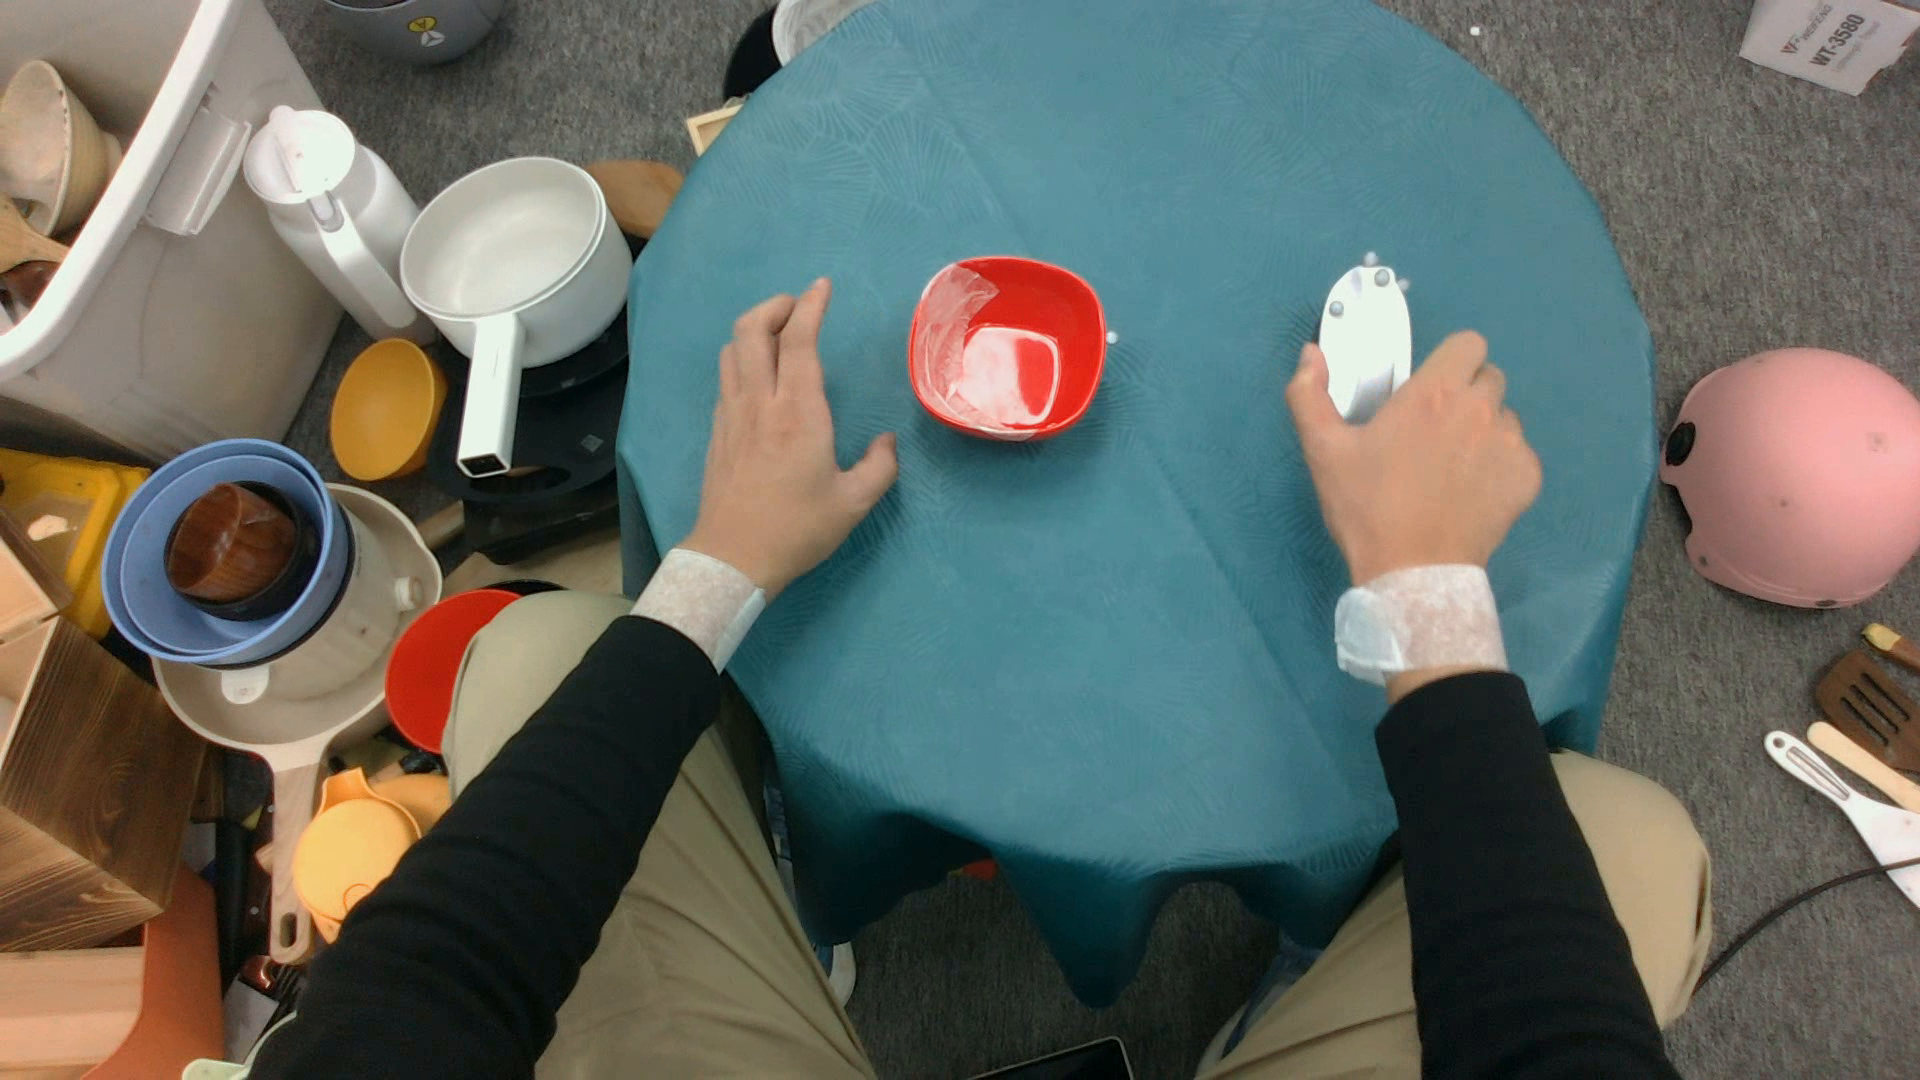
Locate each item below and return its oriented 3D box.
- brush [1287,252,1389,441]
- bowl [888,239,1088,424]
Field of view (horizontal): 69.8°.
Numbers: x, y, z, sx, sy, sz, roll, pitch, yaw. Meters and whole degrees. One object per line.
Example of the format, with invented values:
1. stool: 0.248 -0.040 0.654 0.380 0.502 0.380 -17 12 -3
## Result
1. brush: 0.216 -0.115 0.772 0.050 0.072 0.099 8 71 4
2. bowl: 0.015 -0.111 0.784 0.119 0.051 0.119 0 70 -1
